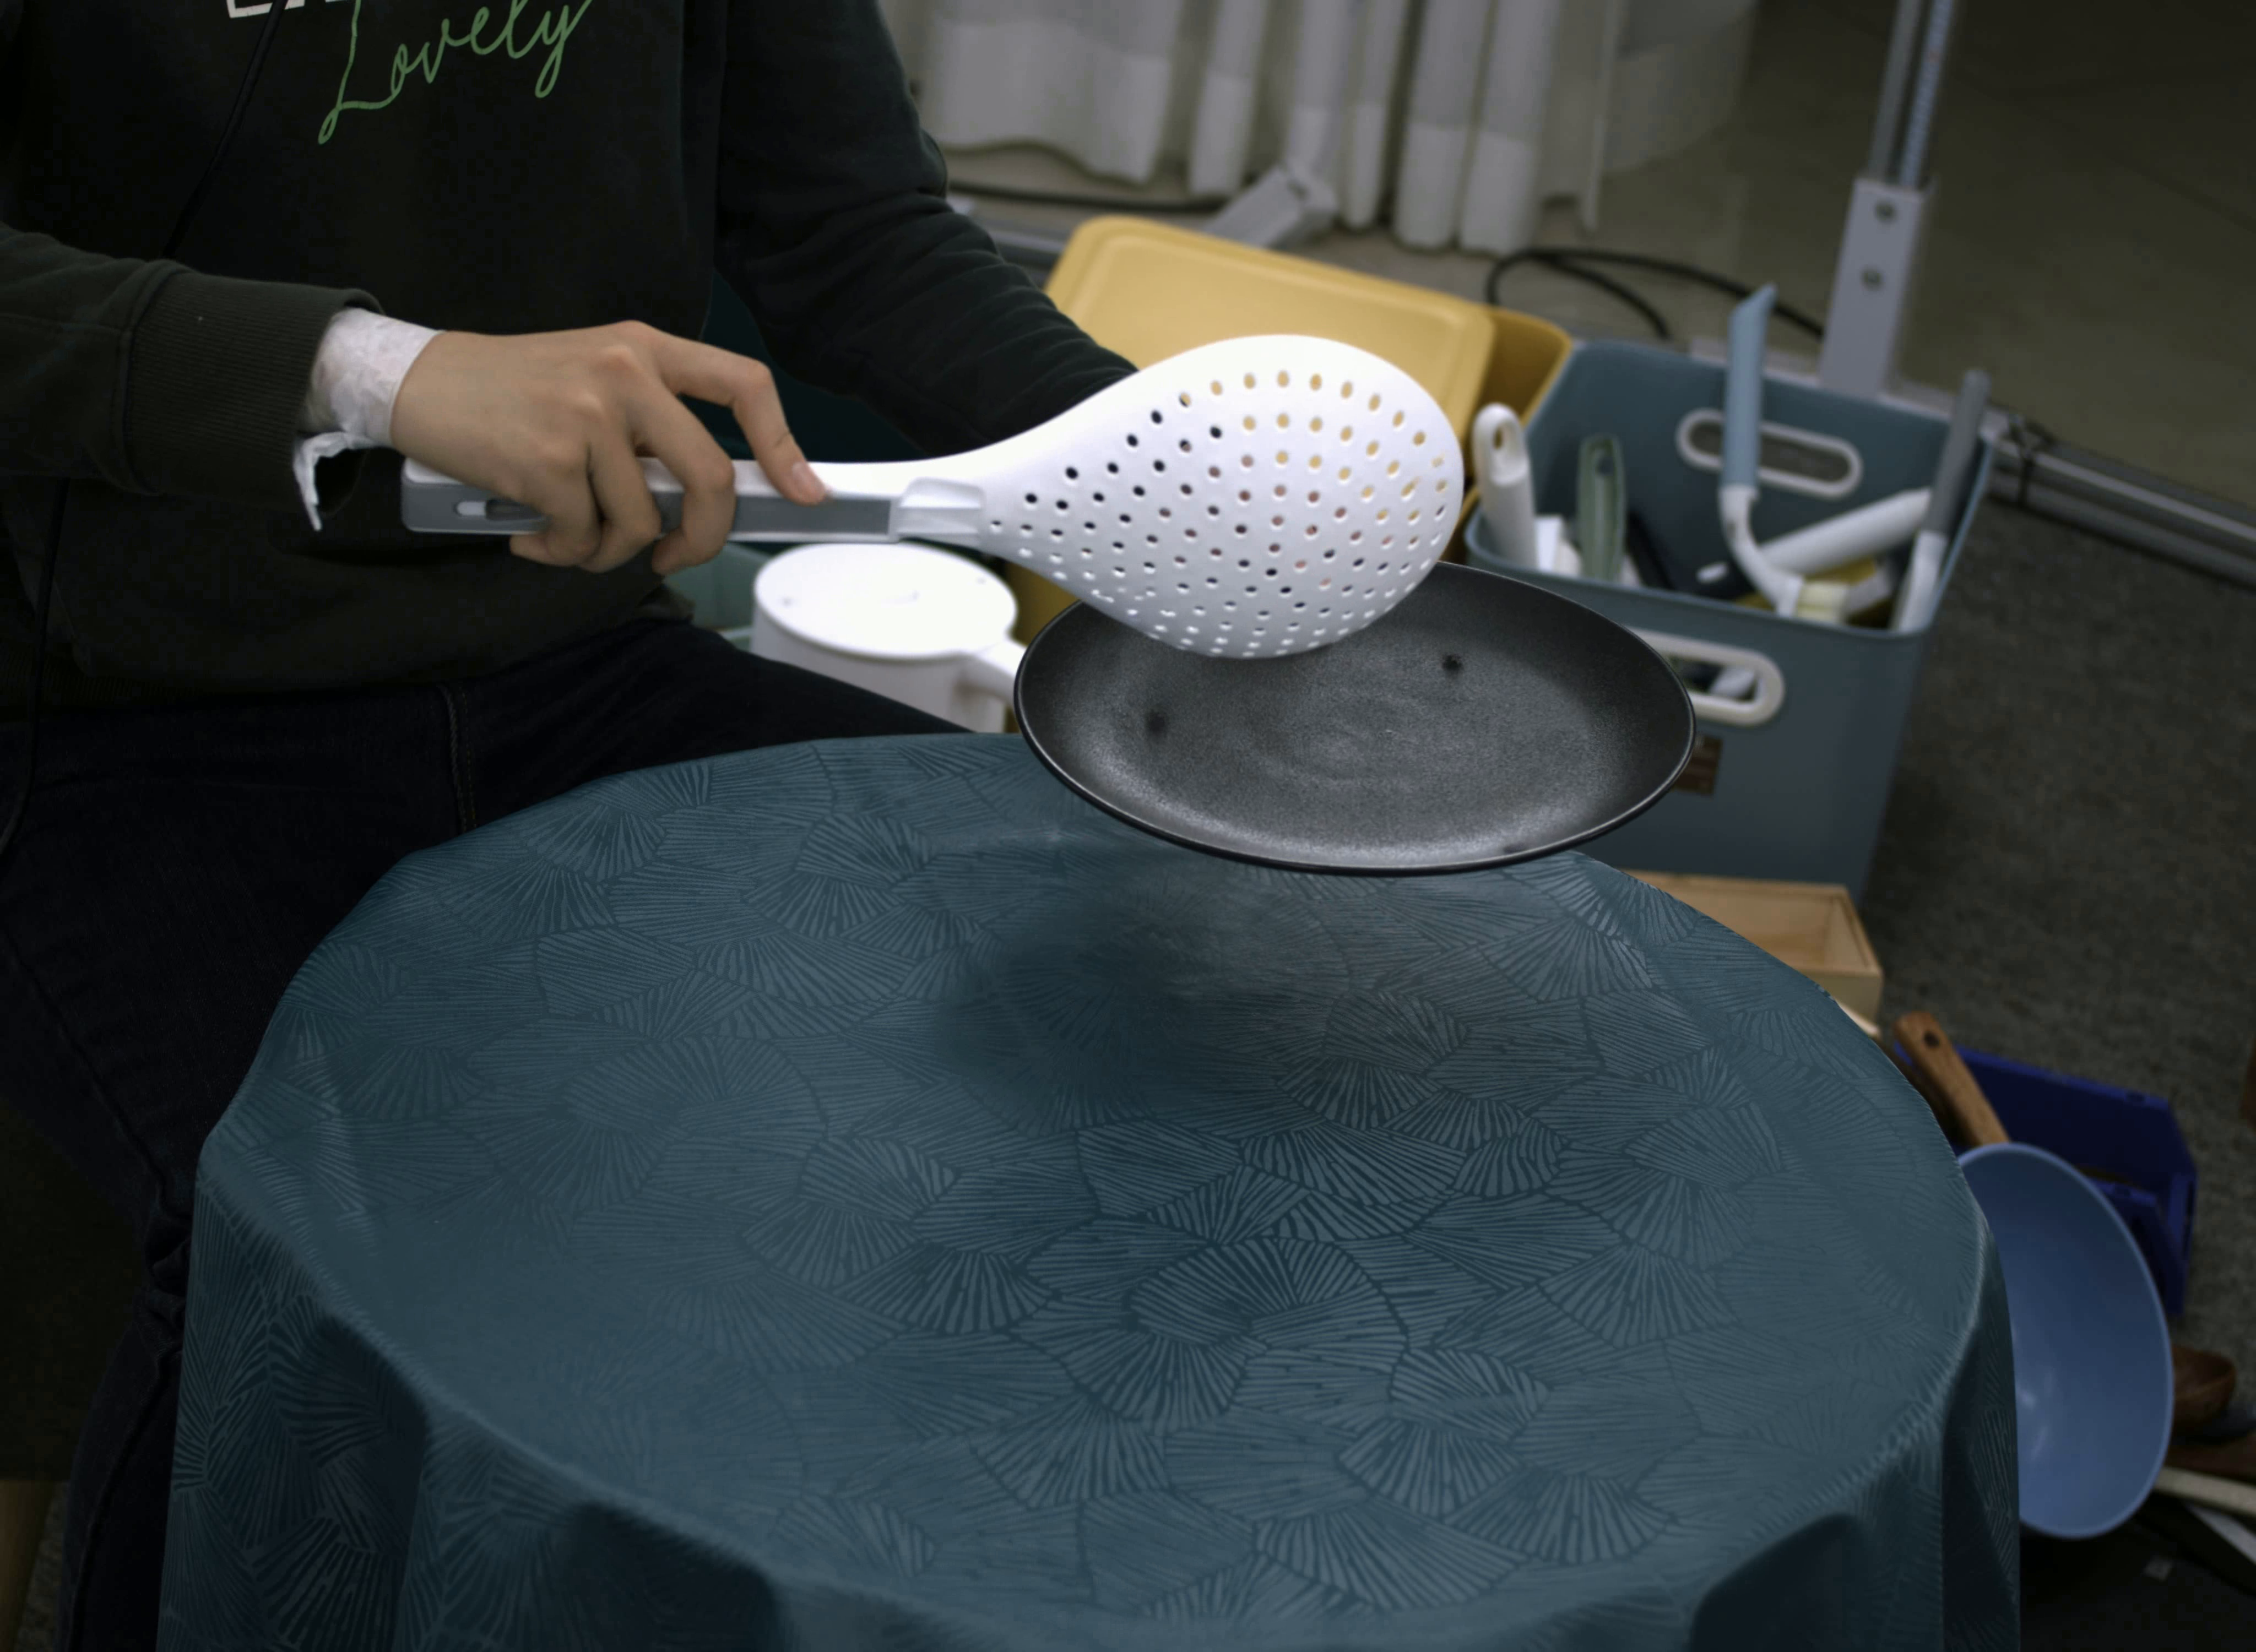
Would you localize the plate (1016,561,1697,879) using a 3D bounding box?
[{"bbox_3d":[0.081,-0.036,1.898,0.243,0.023,0.246,2,29,-1],"label":"plate"}]

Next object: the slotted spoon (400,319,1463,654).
[{"bbox_3d":[-0.063,-0.107,1.748,0.348,0.135,0.046,3,40,-2],"label":"slotted spoon"}]
